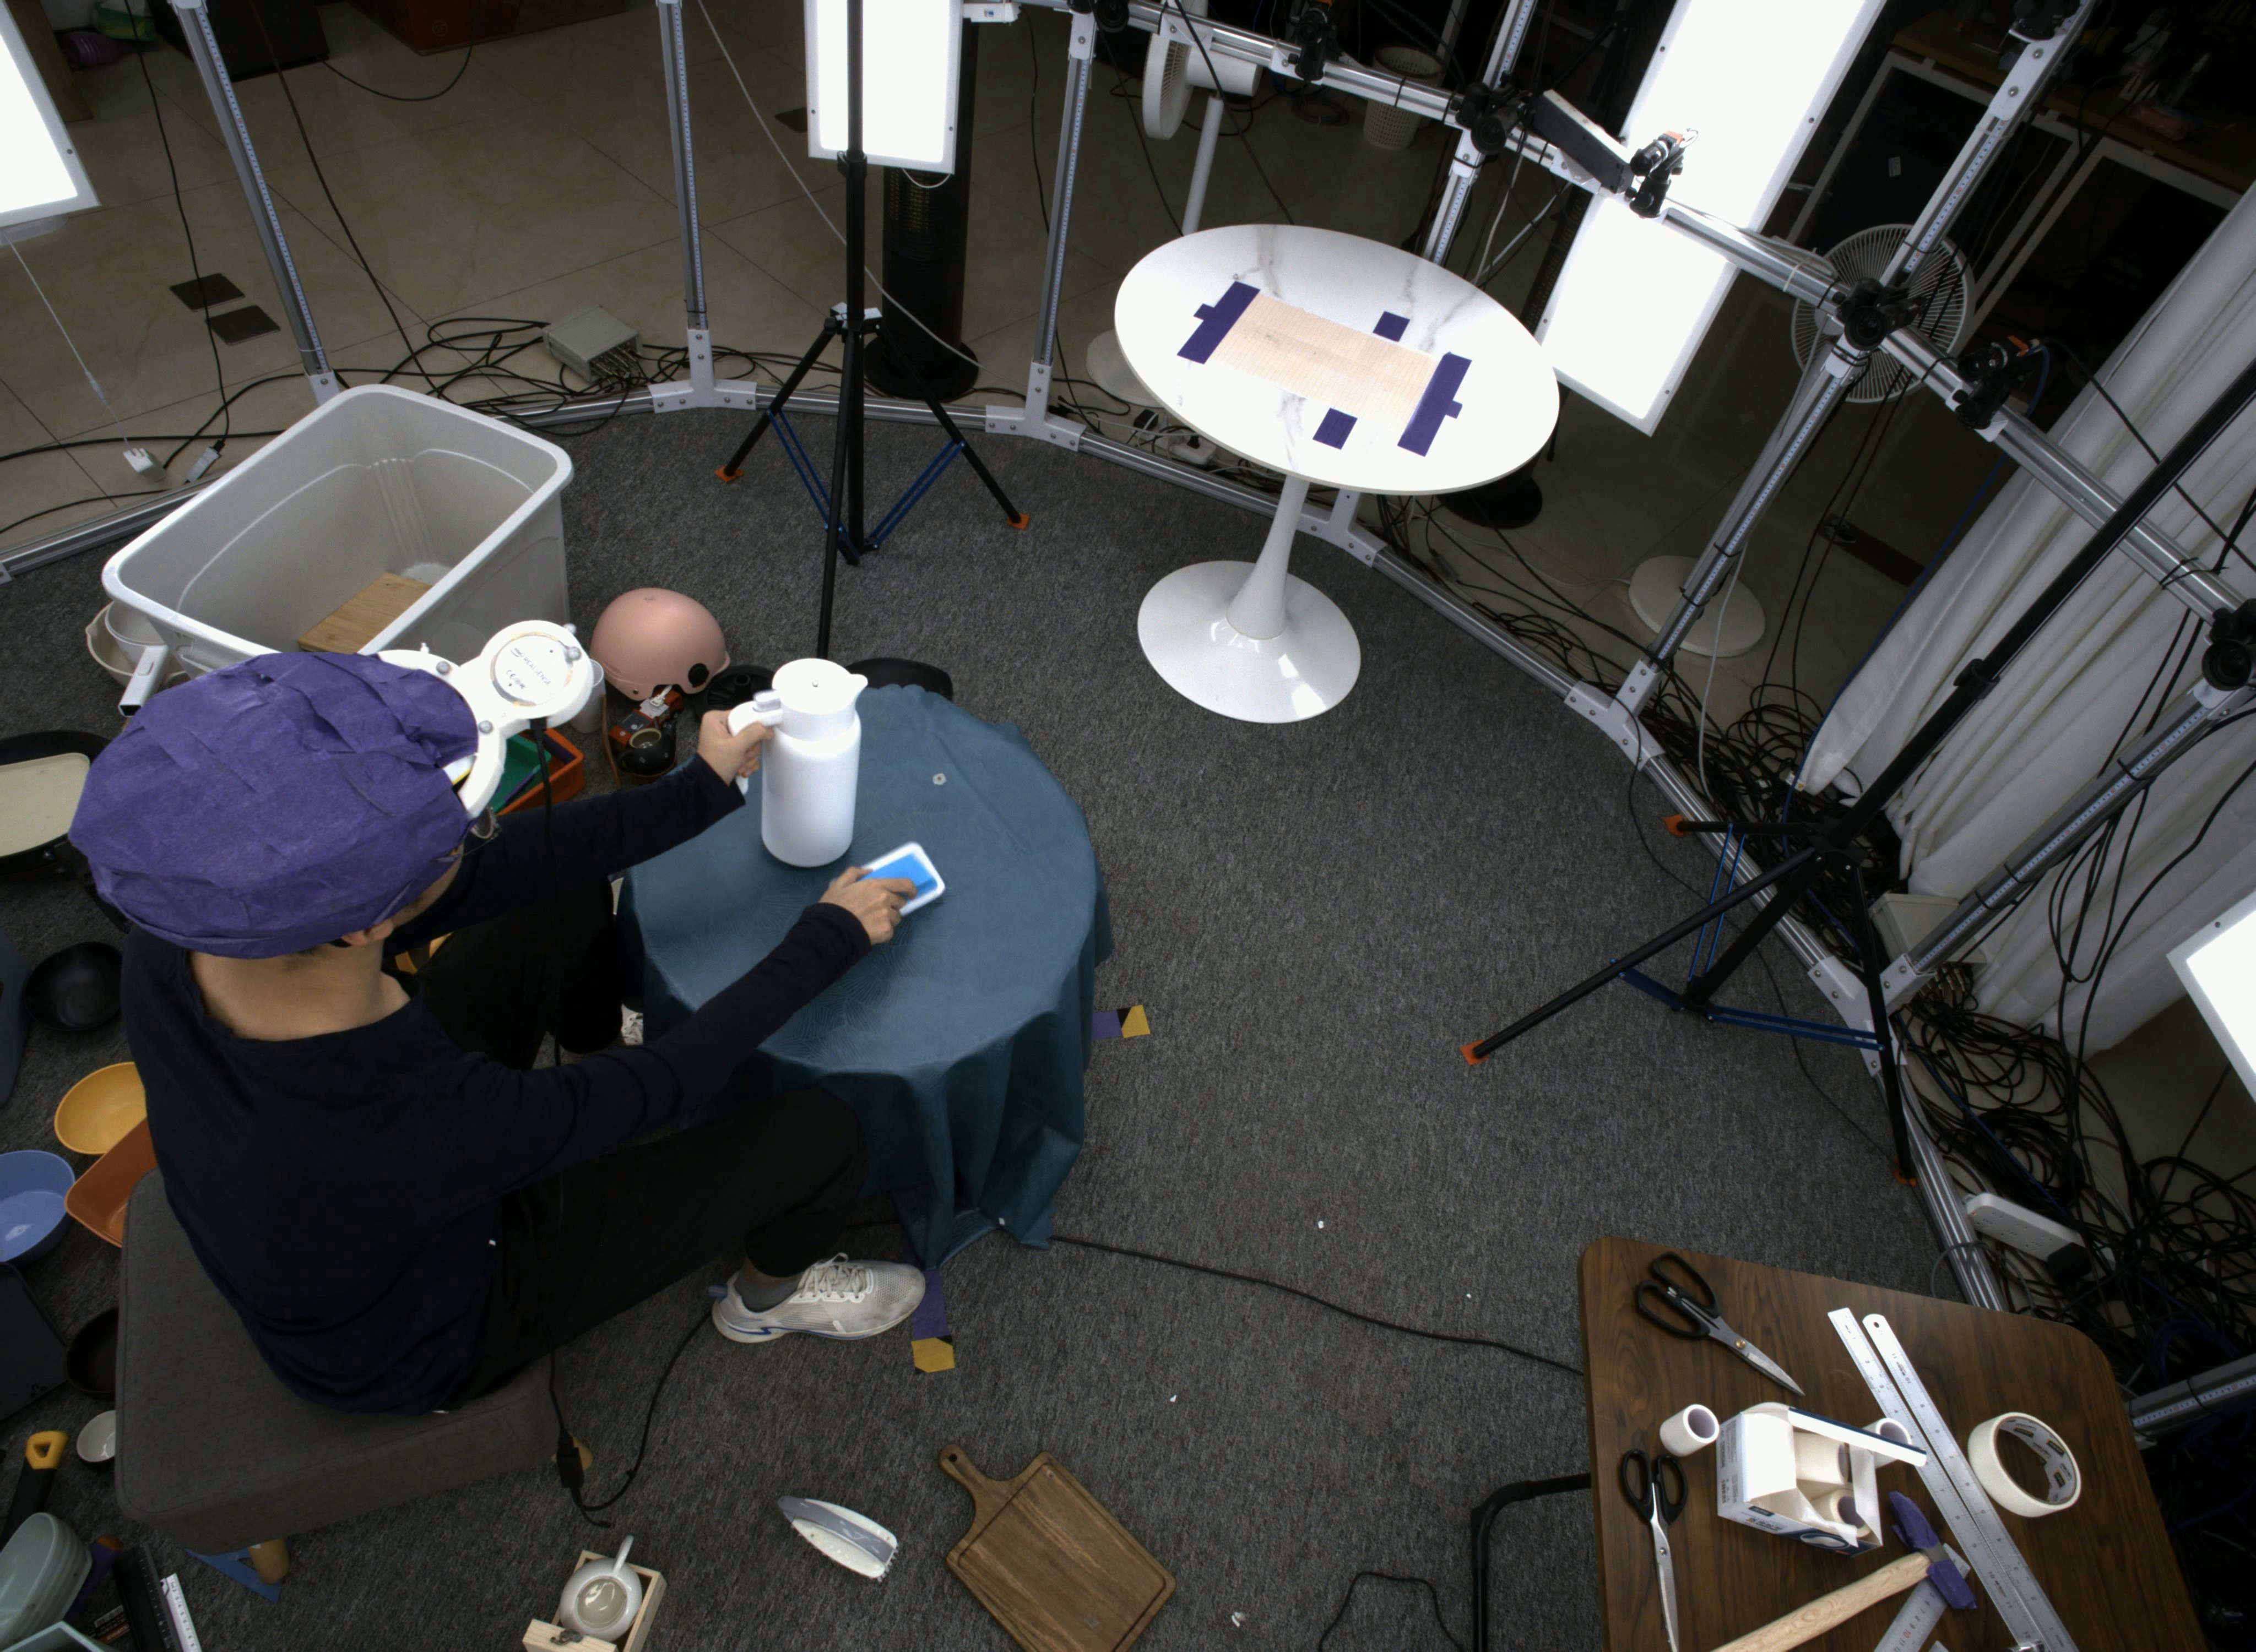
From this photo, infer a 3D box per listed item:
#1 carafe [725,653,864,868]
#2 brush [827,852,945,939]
[{"bbox_3d":[-0.409,-0.072,1.603,0.174,0.274,0.120,-22,58,-31],"label":"carafe"},{"bbox_3d":[-0.303,0.078,1.641,0.145,0.056,0.082,-25,71,-35],"label":"brush"}]
